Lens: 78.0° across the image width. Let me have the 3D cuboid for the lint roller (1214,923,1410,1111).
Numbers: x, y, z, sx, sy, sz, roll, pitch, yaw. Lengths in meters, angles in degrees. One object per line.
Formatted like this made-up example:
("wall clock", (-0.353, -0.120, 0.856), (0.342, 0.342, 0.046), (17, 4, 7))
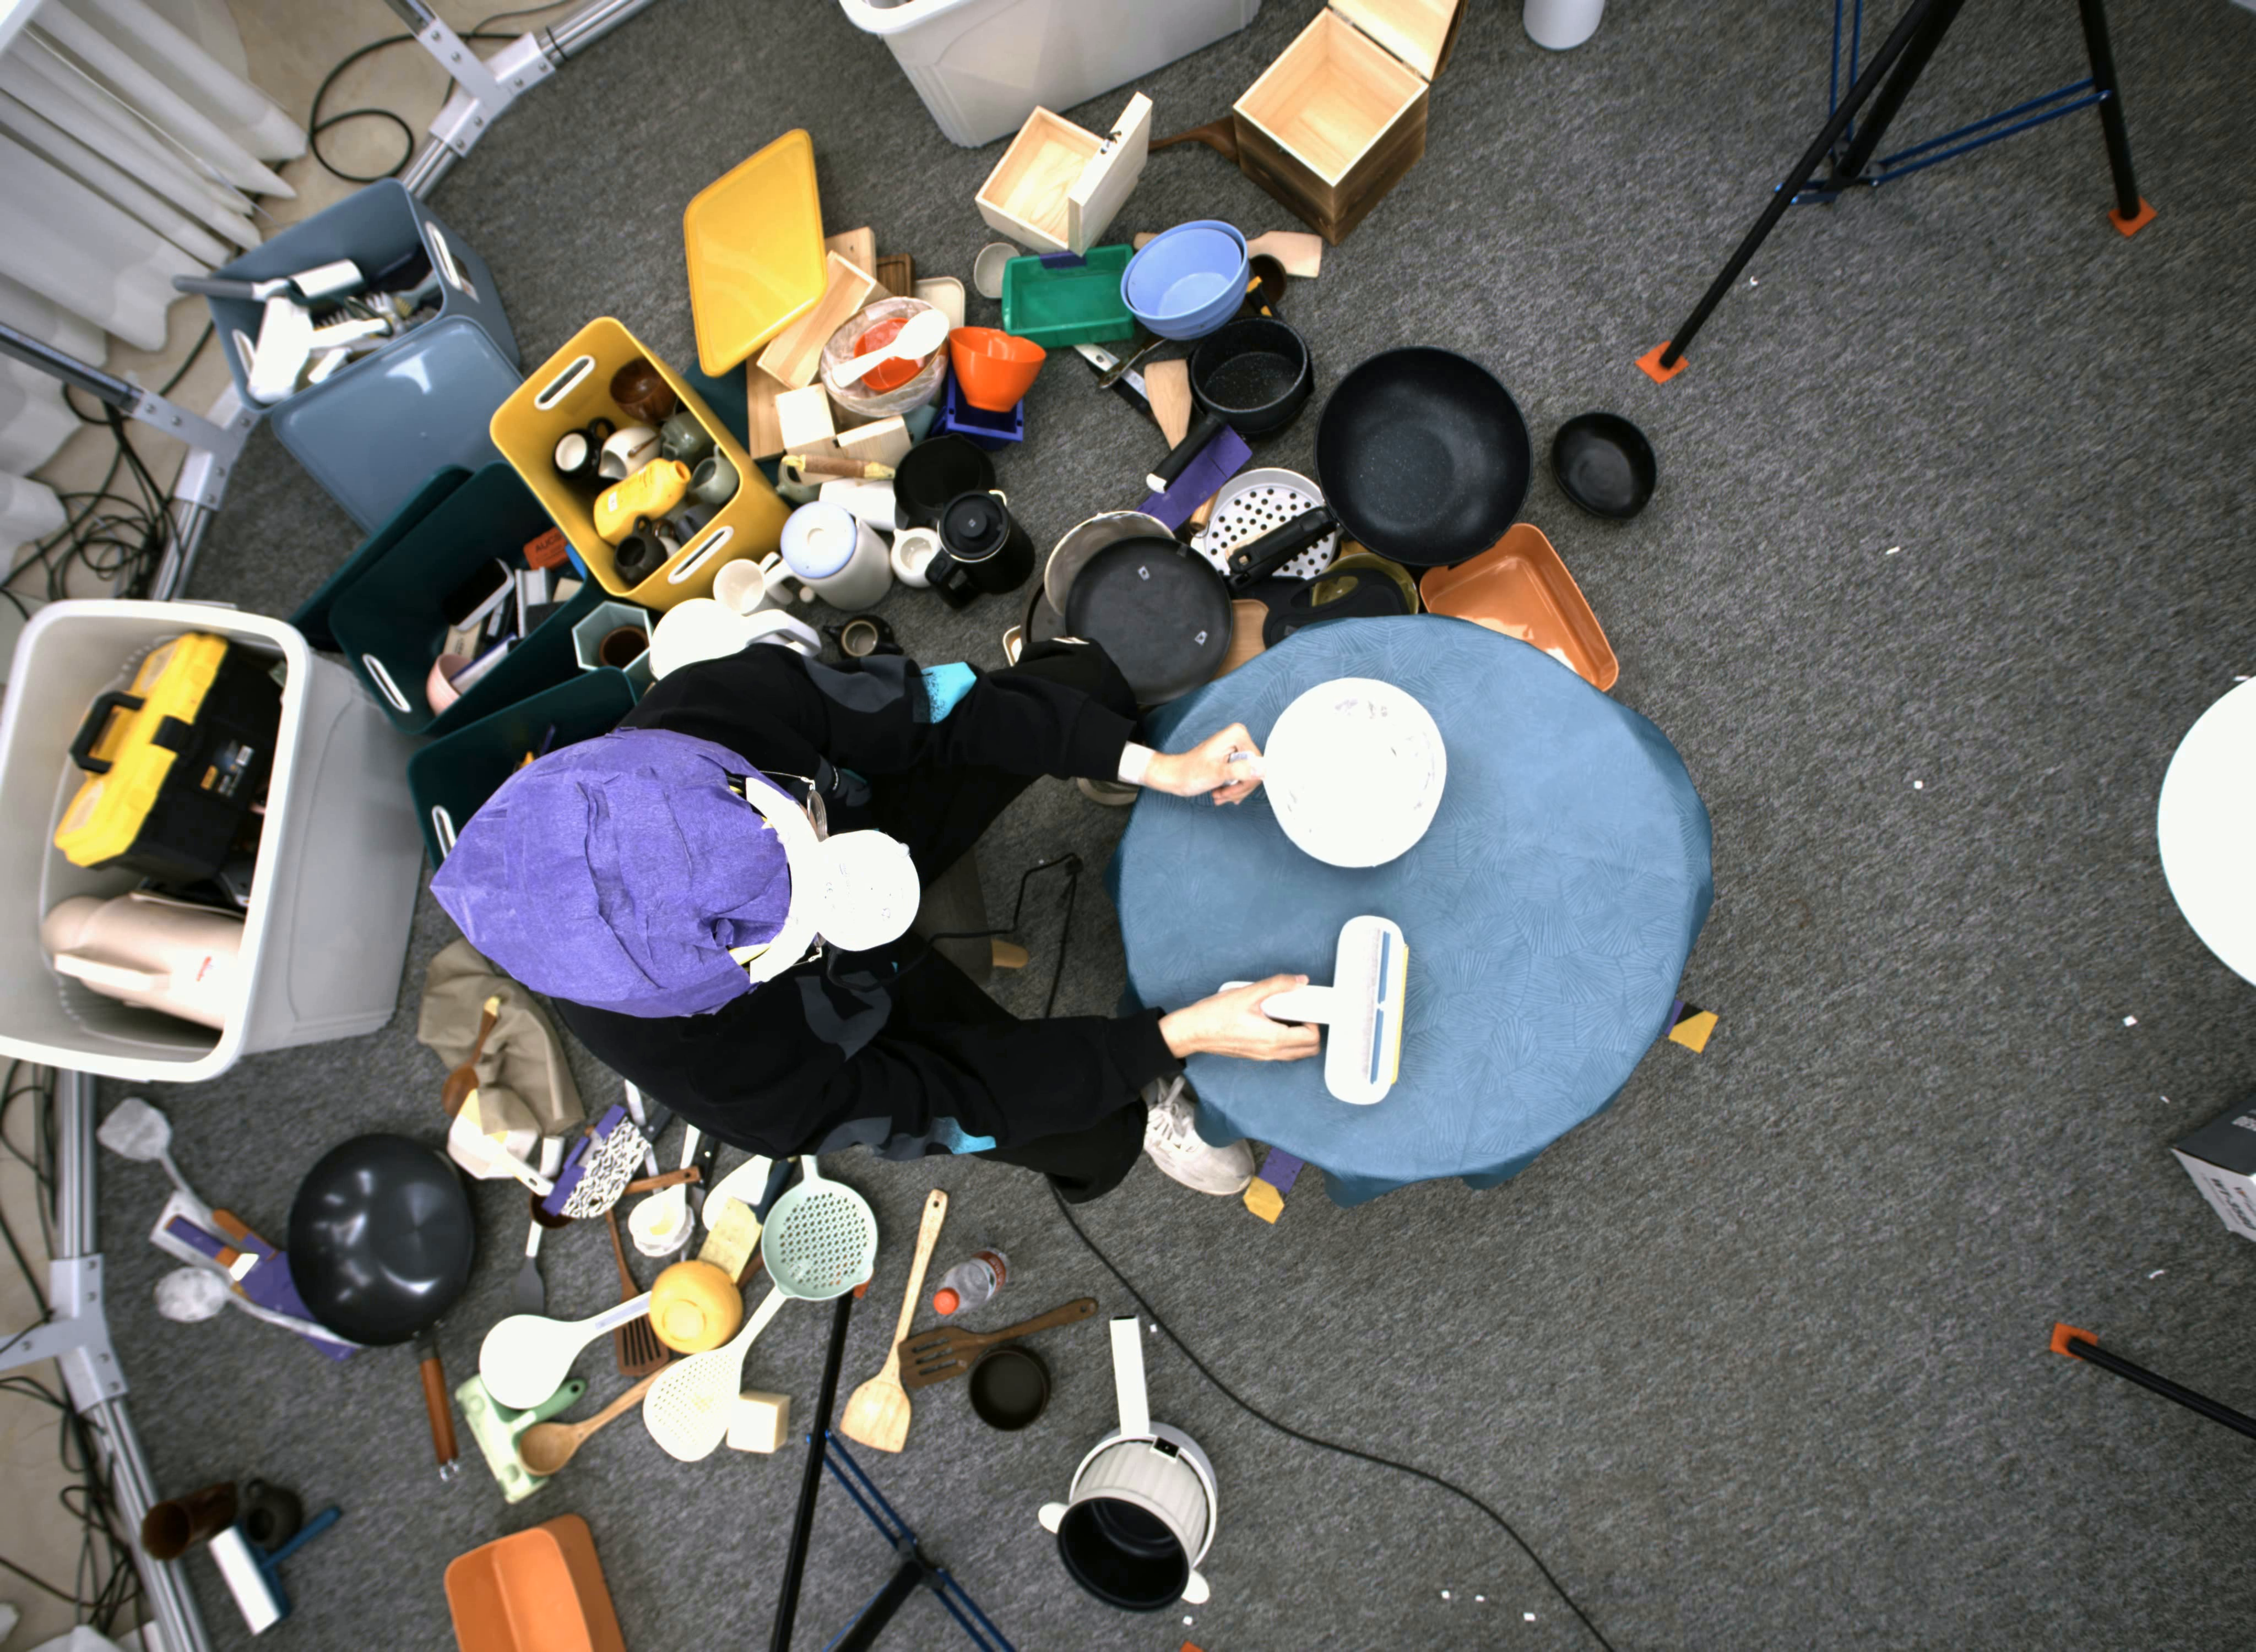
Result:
("lint roller", (0.183, 0.184, 1.421), (0.193, 0.075, 0.190), (10, 78, 8))

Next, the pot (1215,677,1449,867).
("pot", (0.203, -0.052, 1.401), (0.234, 0.137, 0.177), (2, 83, 9))
